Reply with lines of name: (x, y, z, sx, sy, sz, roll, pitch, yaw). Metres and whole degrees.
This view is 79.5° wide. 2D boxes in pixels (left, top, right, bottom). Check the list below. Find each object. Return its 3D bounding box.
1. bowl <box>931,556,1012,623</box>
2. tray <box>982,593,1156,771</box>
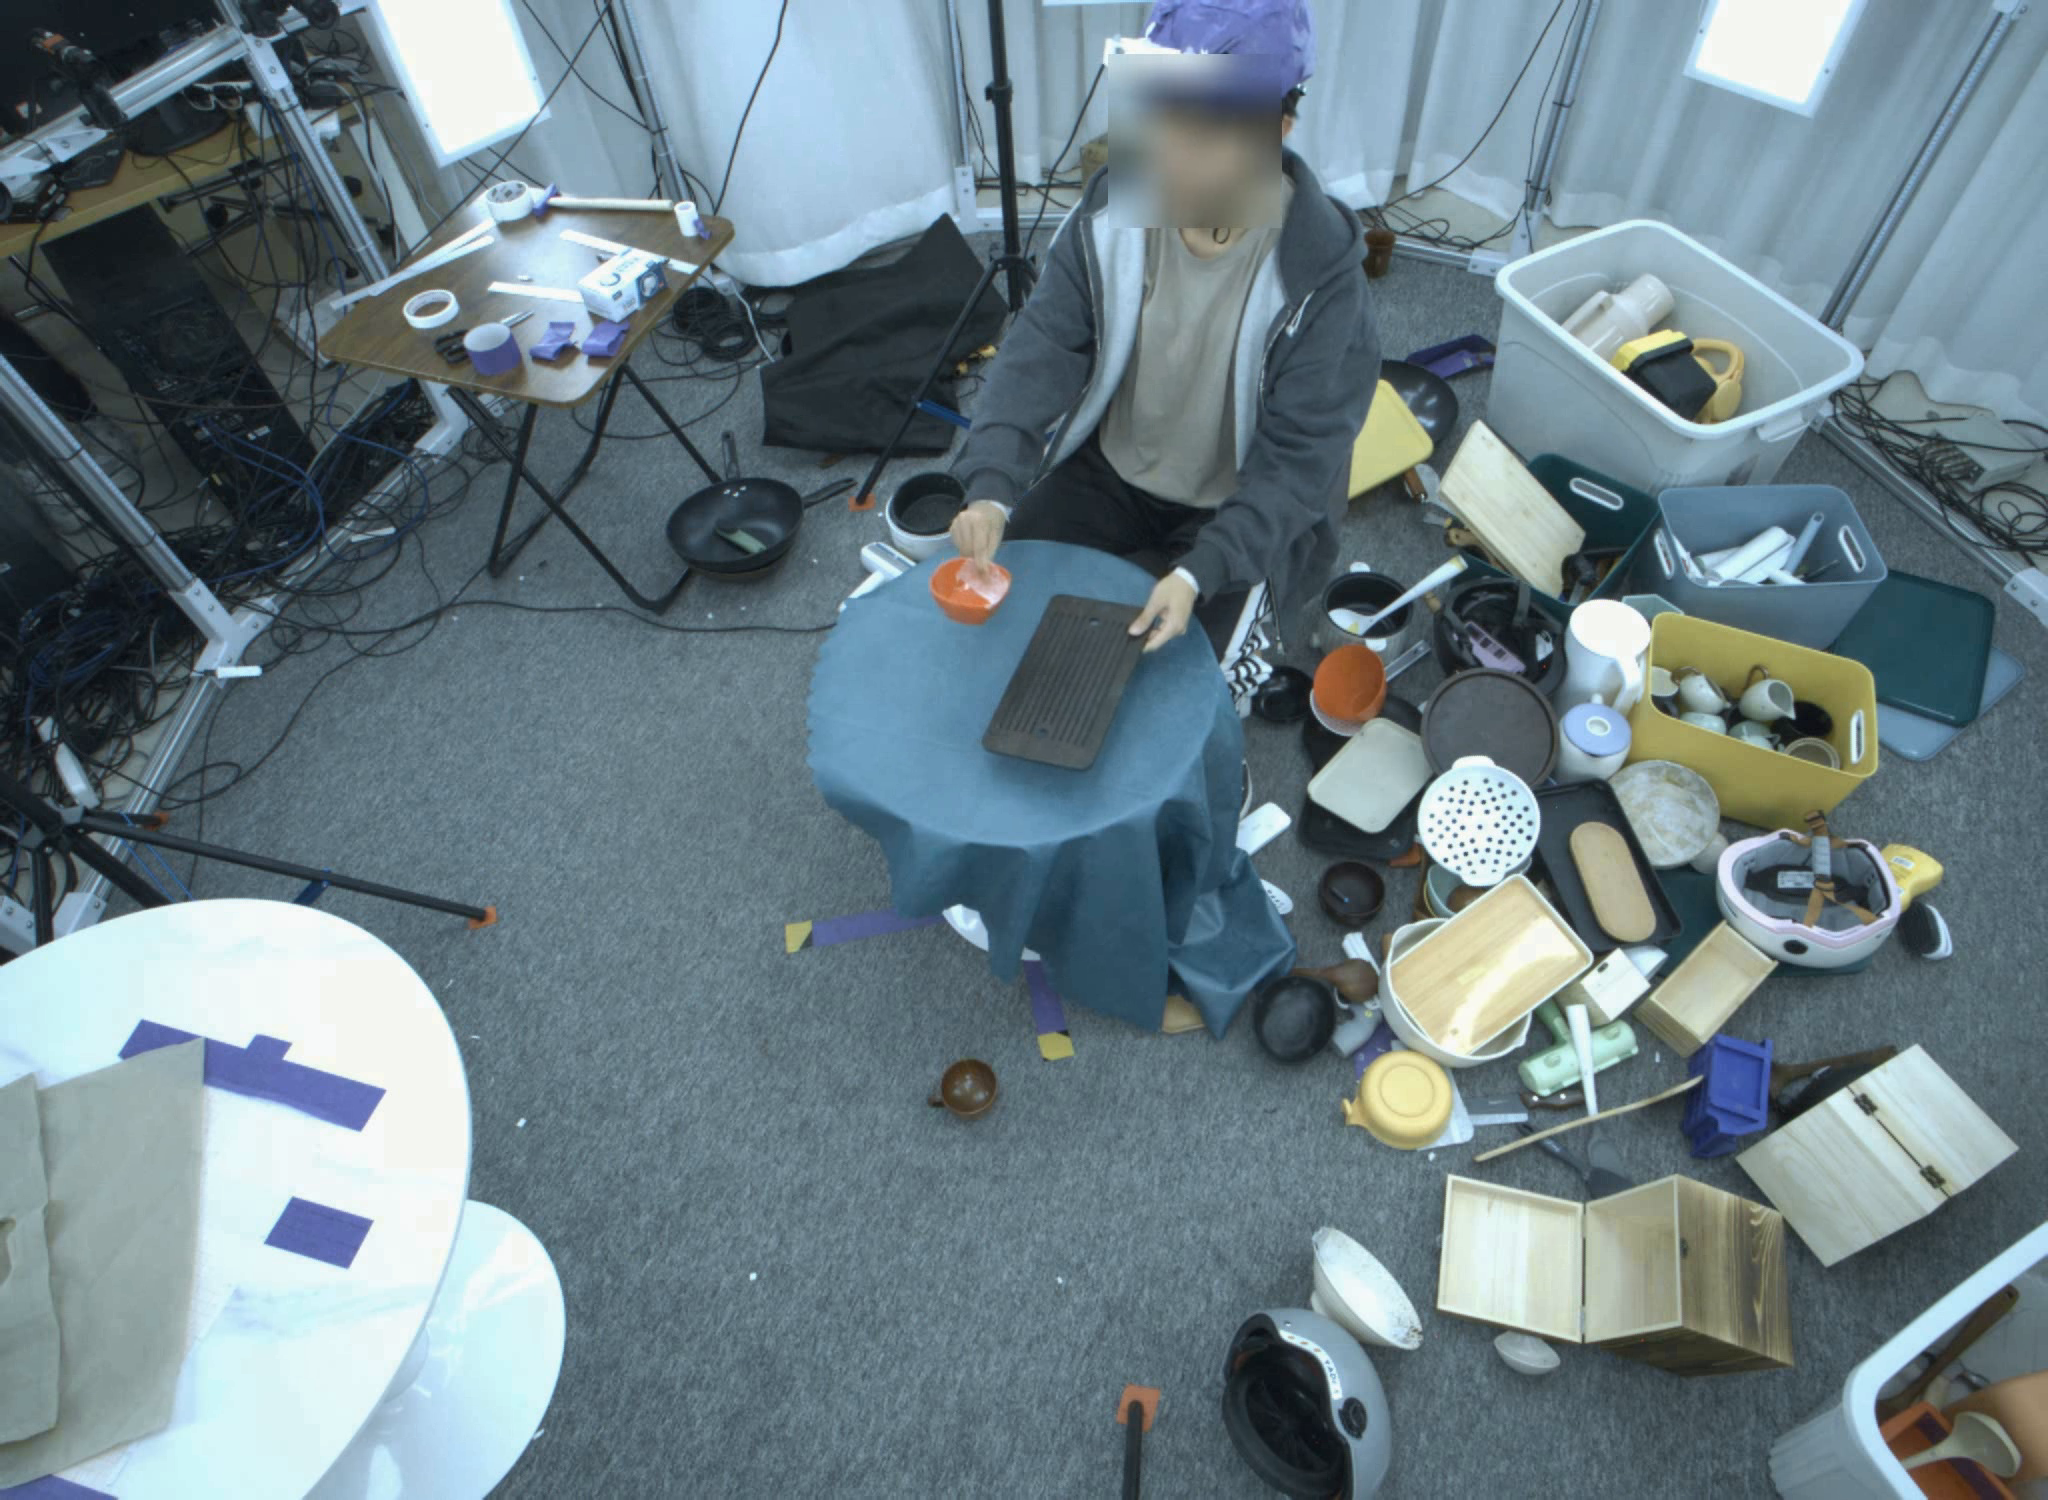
bowl: (-0.075, -0.222, 1.743, 0.119, 0.052, 0.117, 4, 46, -2)
tray: (0.070, -0.103, 1.791, 0.168, 0.019, 0.305, 13, 58, 19)
